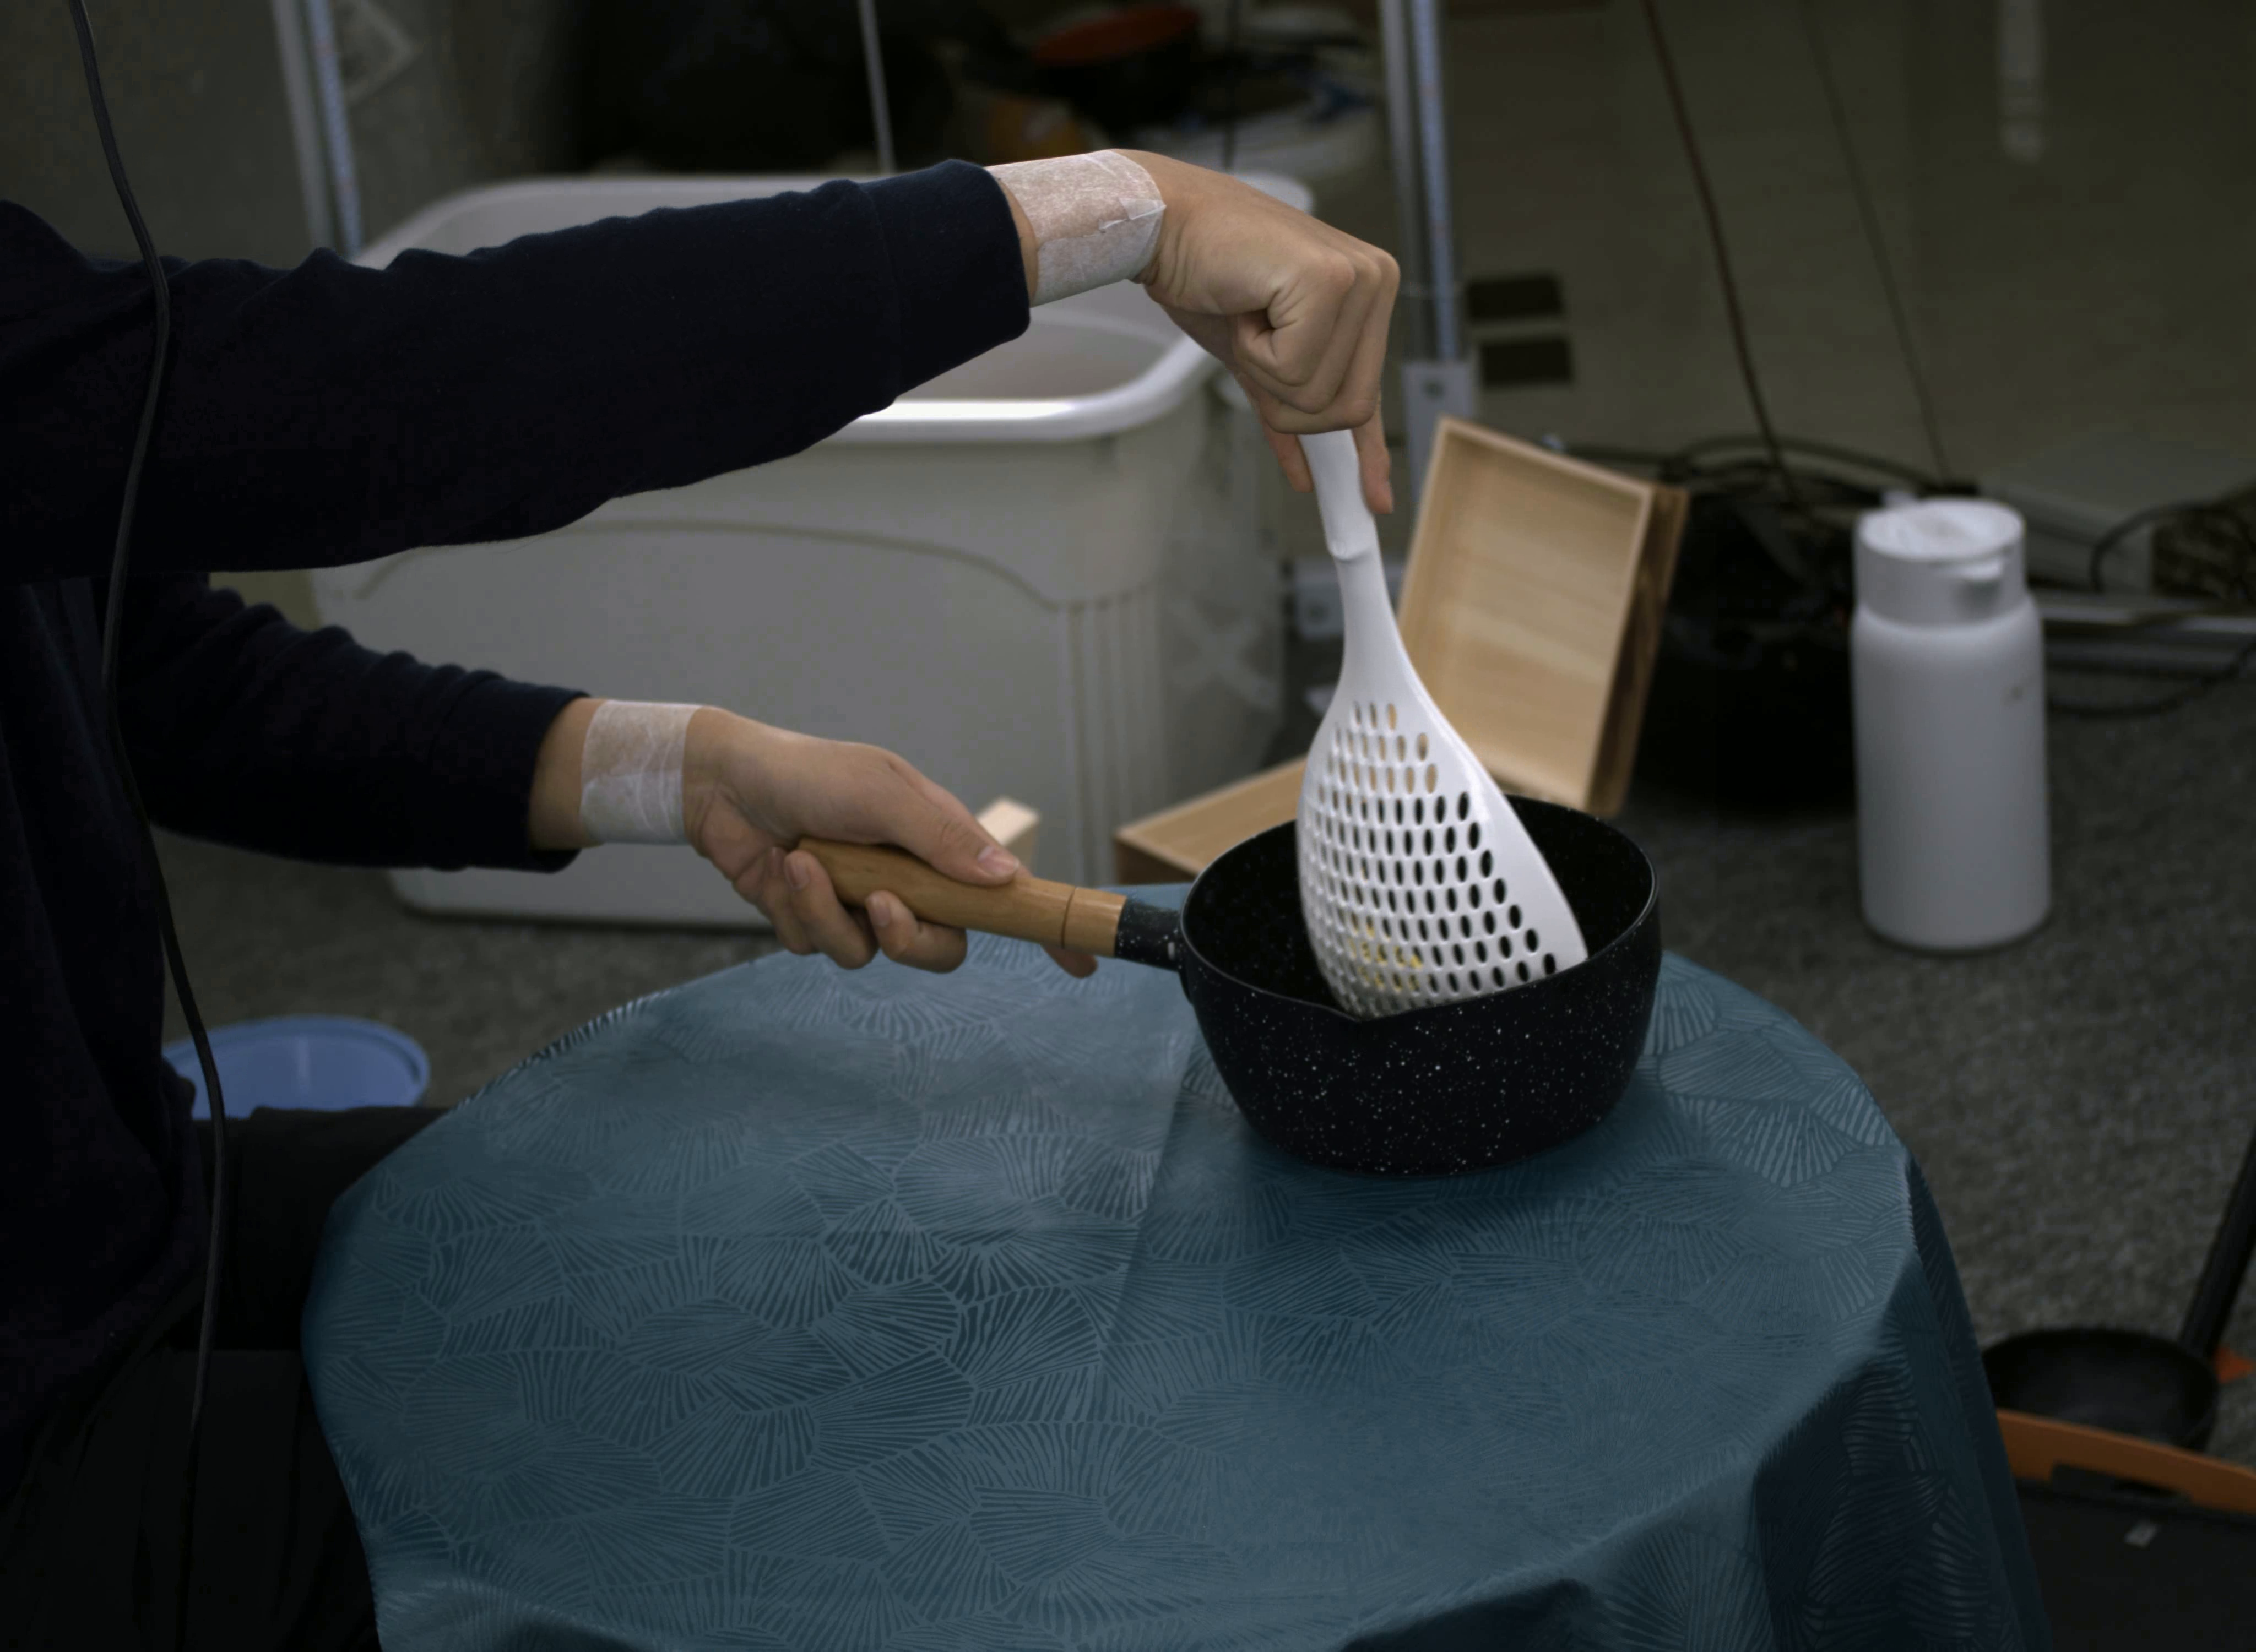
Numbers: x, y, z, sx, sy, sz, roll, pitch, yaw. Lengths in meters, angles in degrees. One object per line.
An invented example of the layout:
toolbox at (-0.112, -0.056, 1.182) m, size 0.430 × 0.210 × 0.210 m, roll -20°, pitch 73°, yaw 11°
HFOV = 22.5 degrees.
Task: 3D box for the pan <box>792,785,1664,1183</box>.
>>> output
pan at (0.037, 0.054, 2.191) m, size 0.342 × 0.110 × 0.204 m, roll 1°, pitch 27°, yaw 13°

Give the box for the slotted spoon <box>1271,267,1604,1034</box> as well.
slotted spoon at (0.092, -0.051, 2.082) m, size 0.136 × 0.353 × 0.050 m, roll 12°, pitch 34°, yaw 39°
